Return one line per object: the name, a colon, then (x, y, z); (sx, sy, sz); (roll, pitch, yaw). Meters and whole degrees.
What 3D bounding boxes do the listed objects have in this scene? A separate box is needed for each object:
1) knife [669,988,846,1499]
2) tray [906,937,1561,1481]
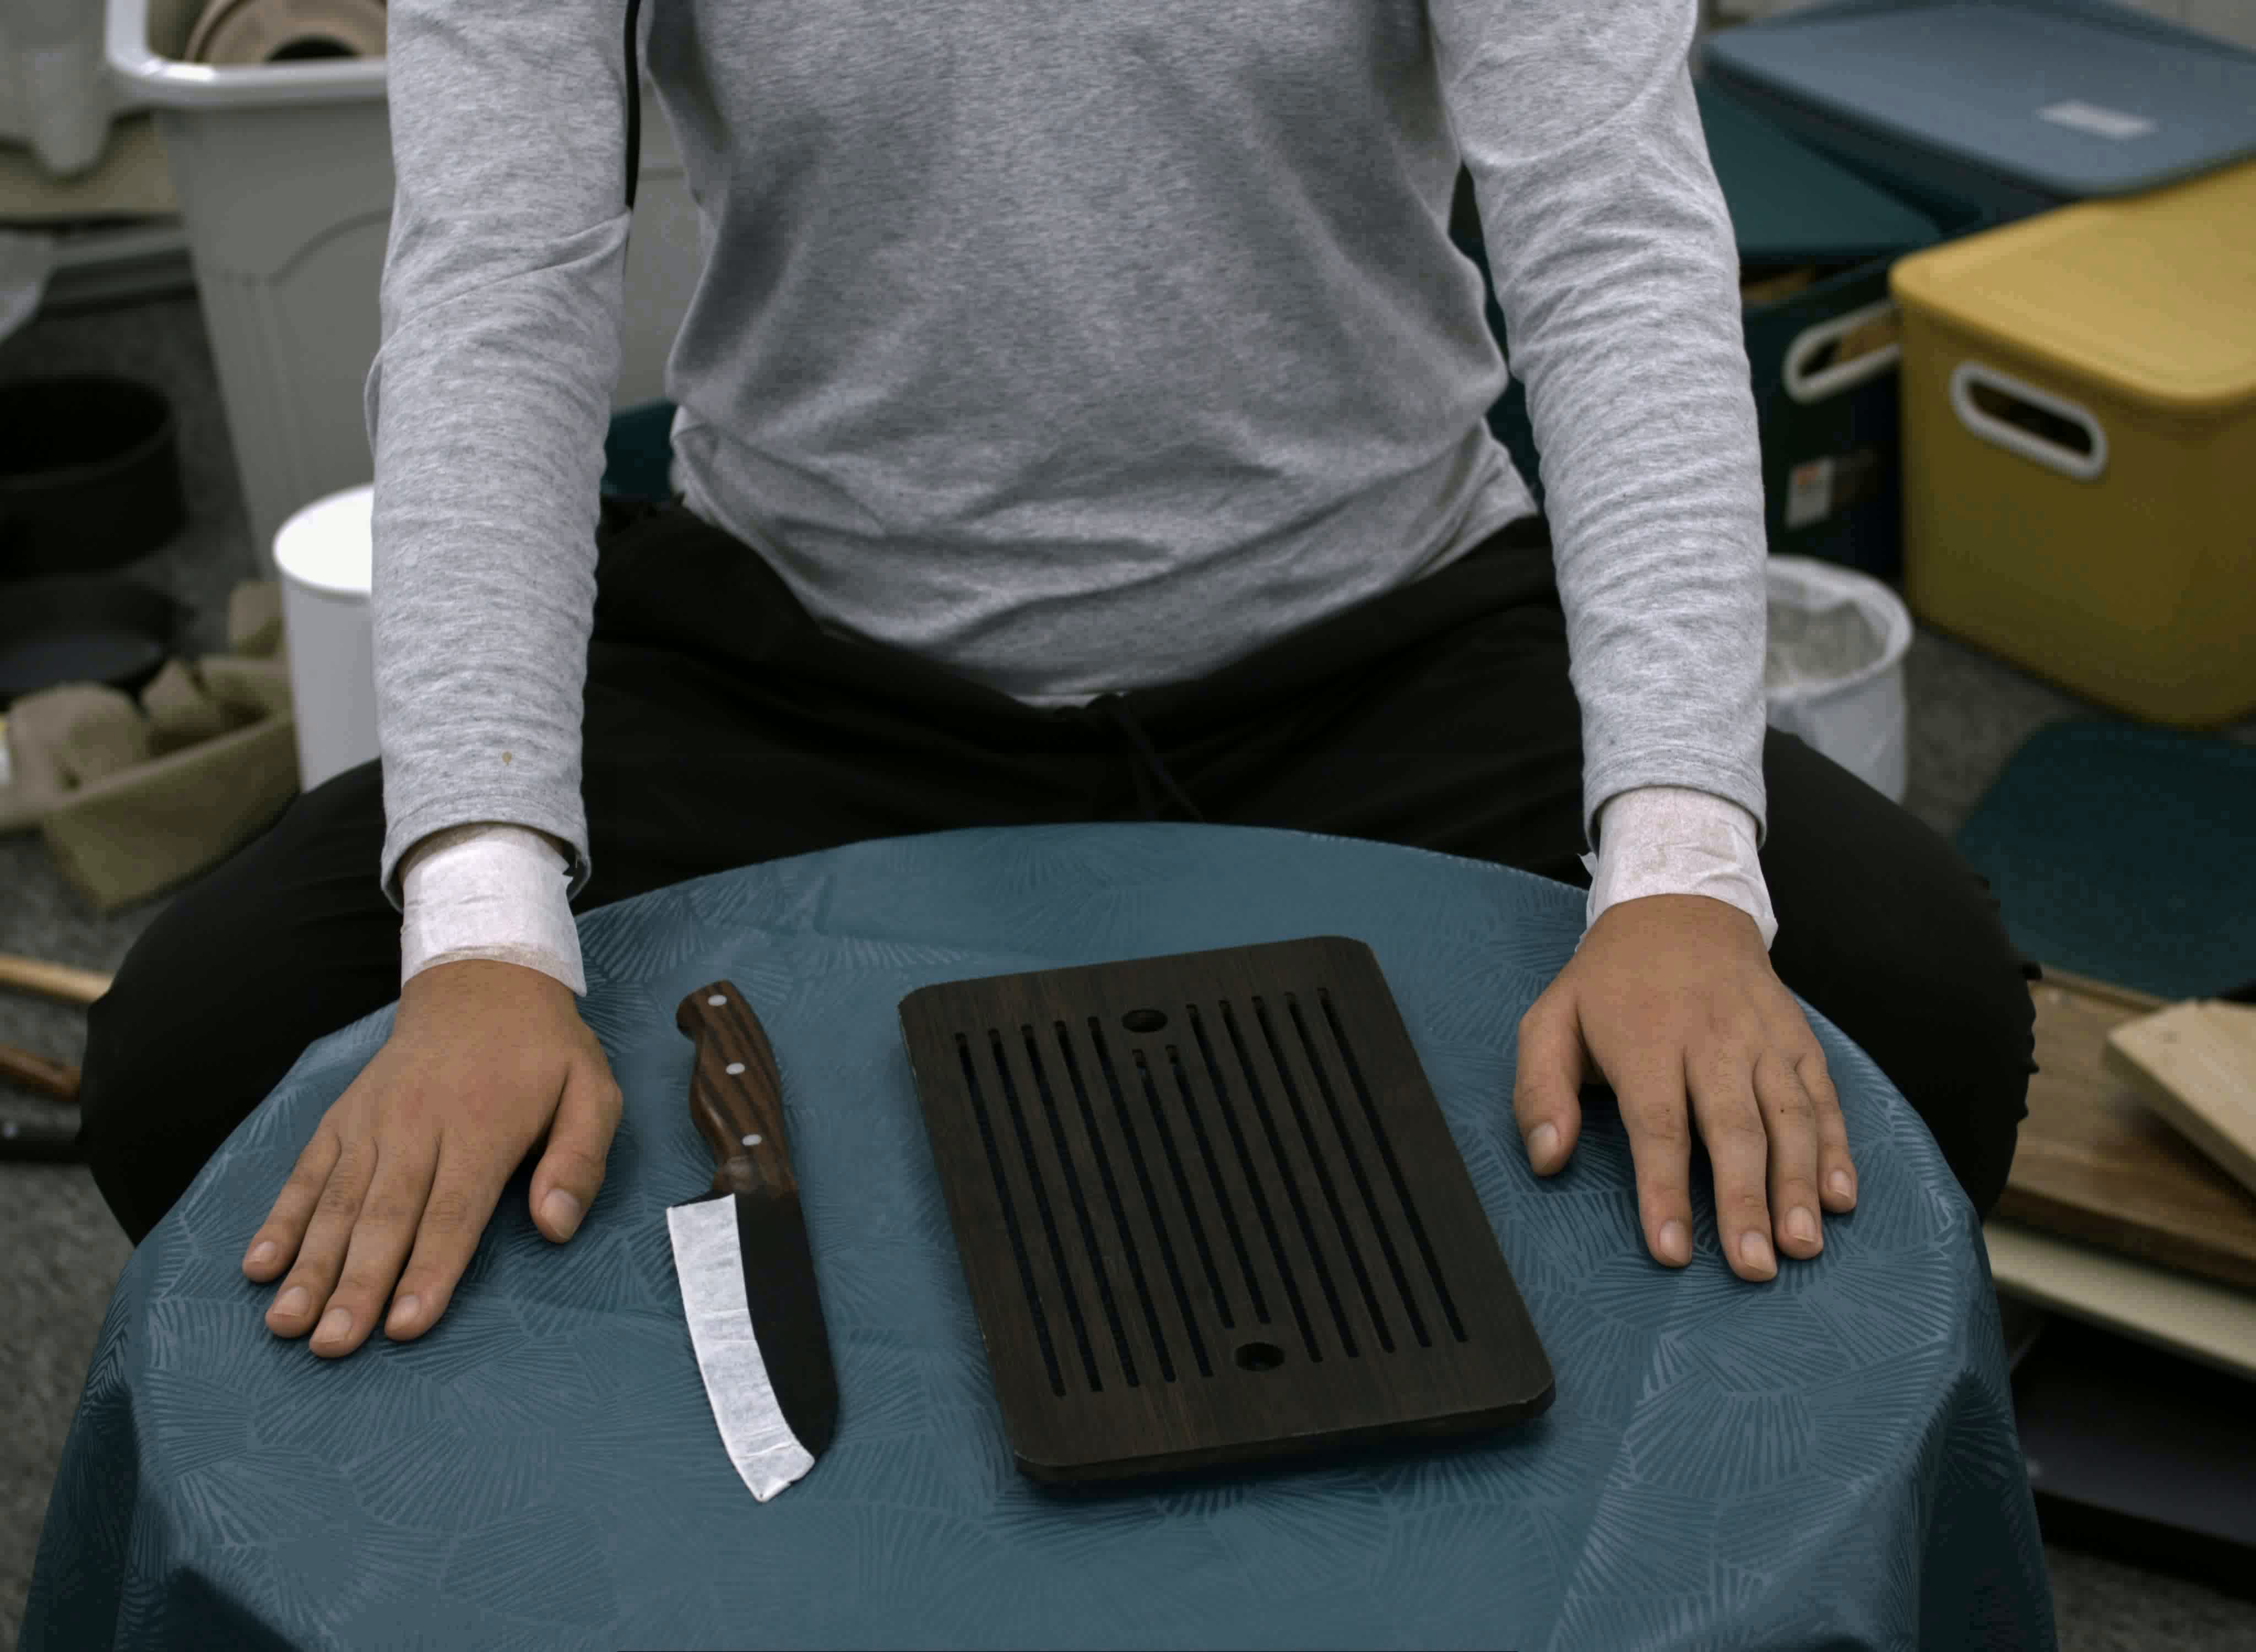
knife: (-0.125, 0.134, 1.833); (0.050, 0.020, 0.293); (-10, 30, -3)
tray: (0.028, 0.122, 1.839); (0.170, 0.018, 0.310); (-7, 27, -7)
